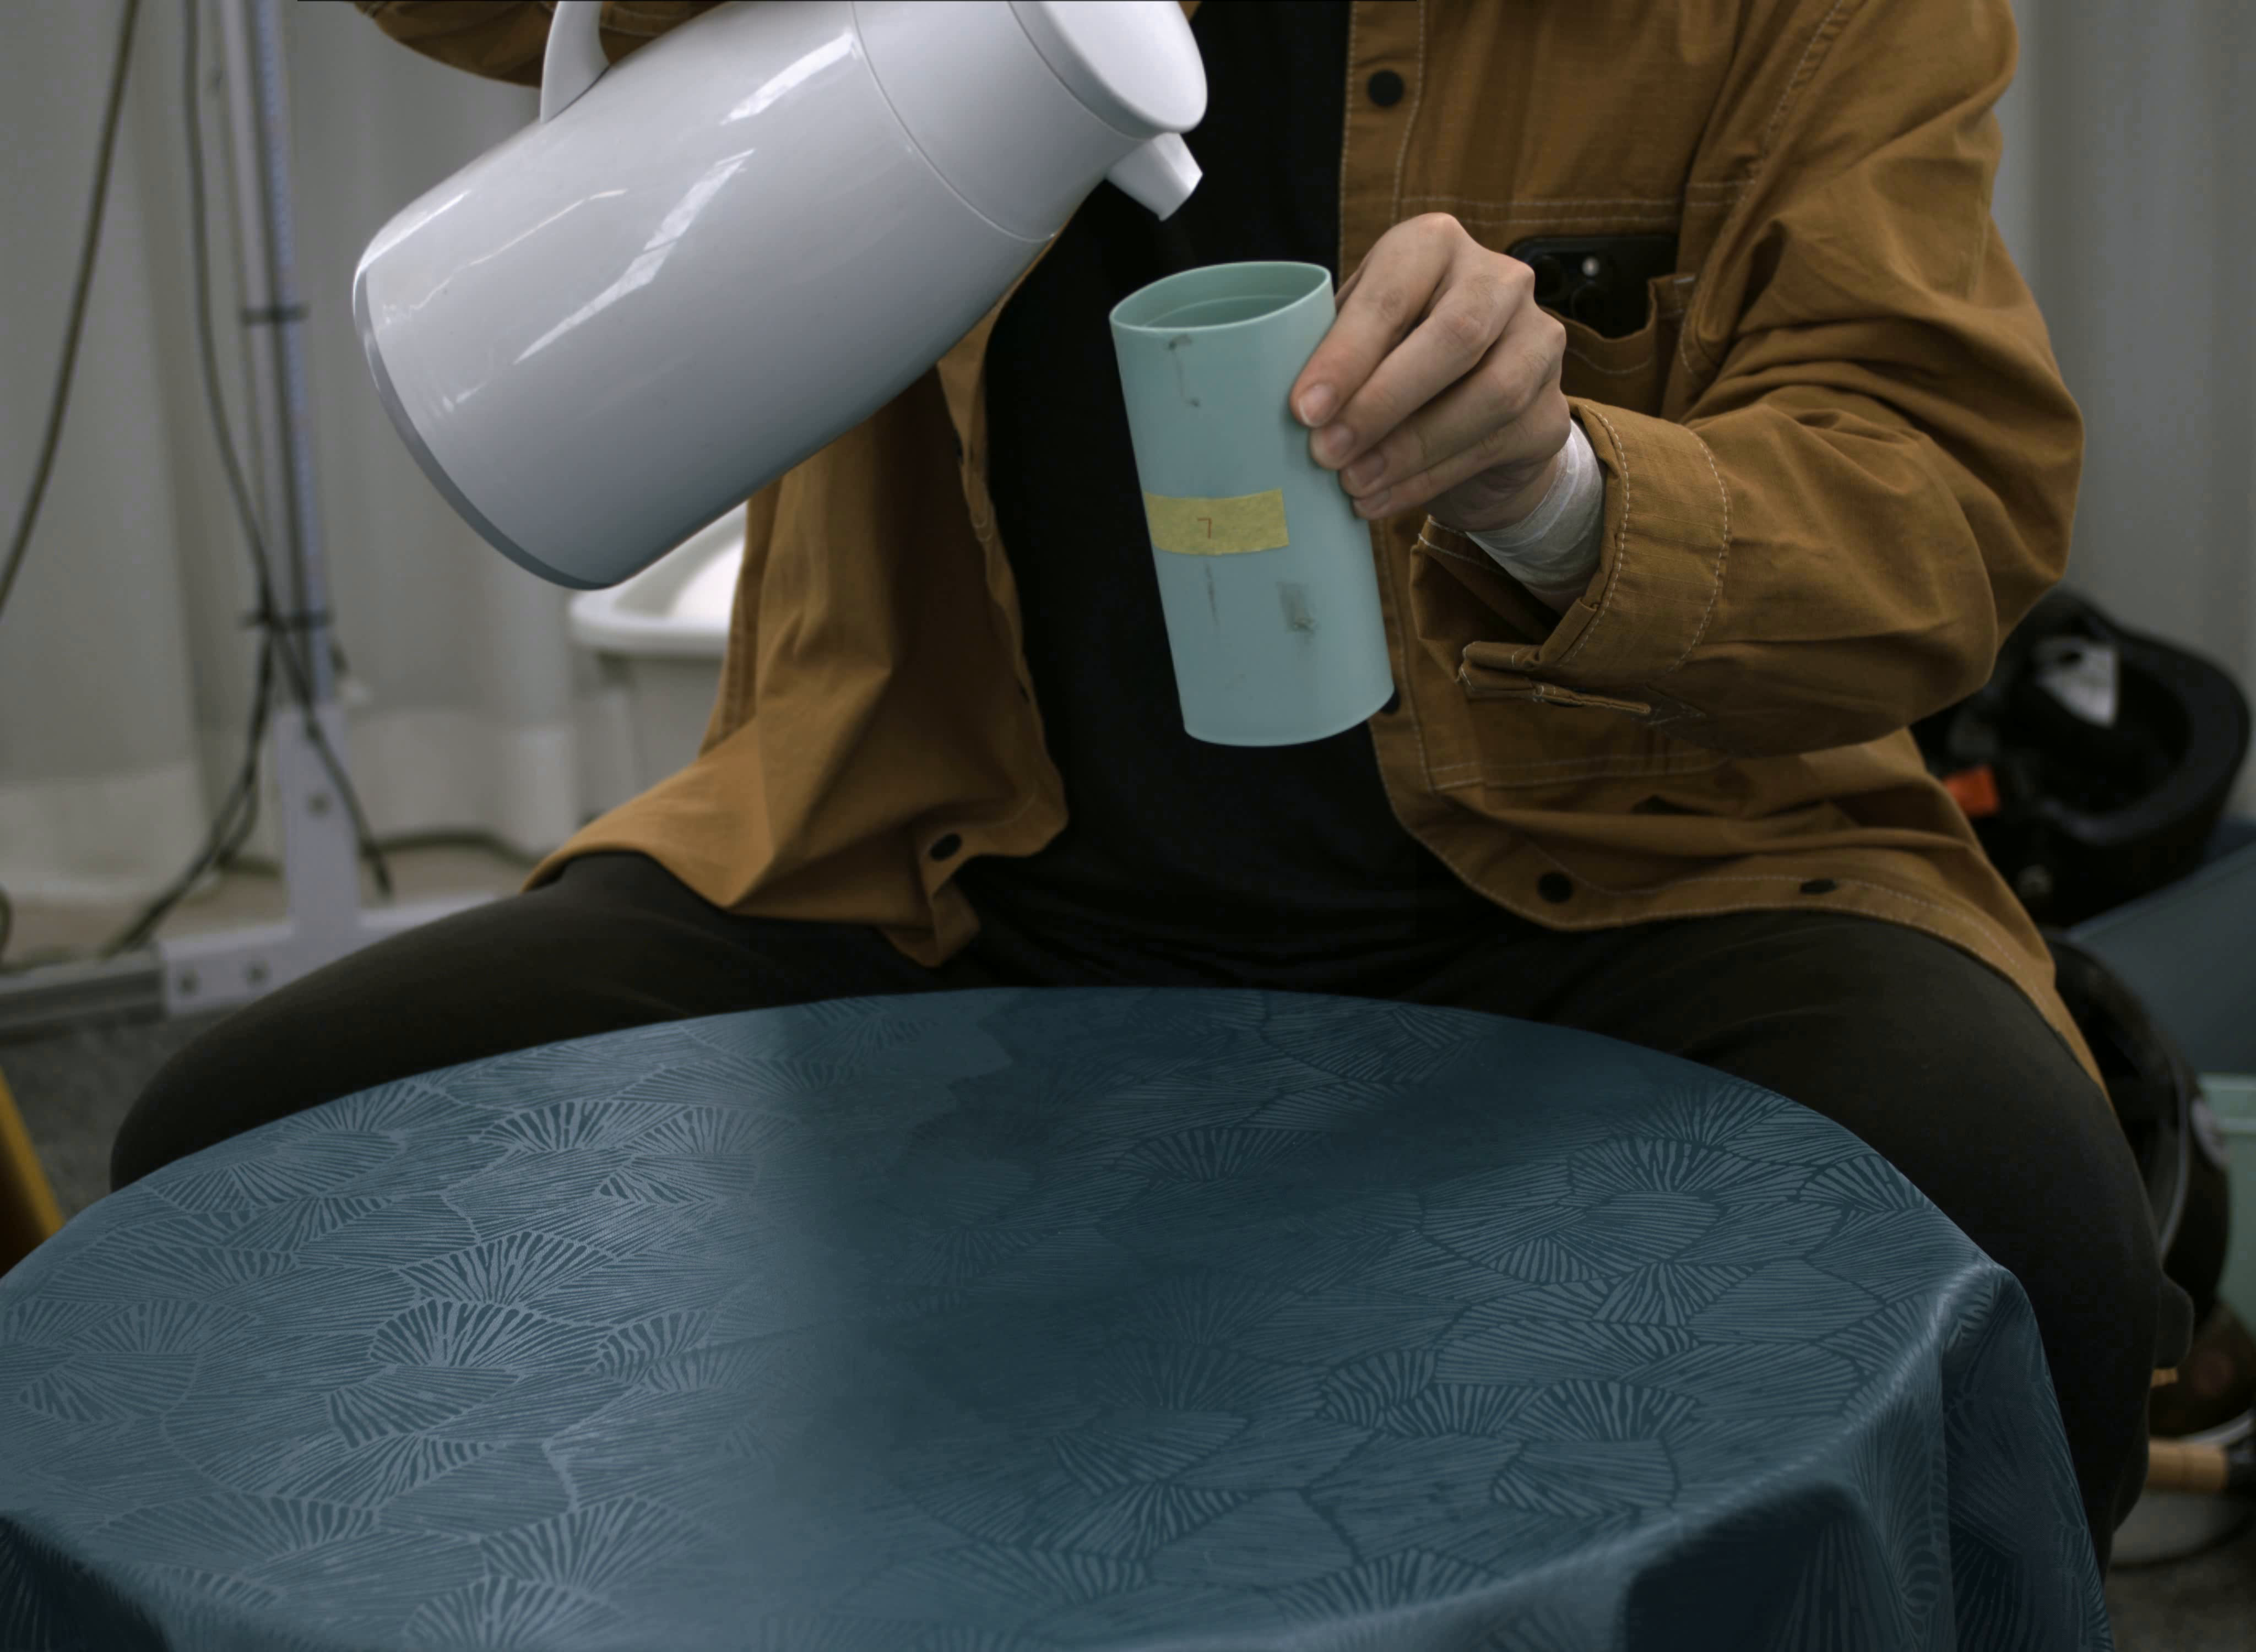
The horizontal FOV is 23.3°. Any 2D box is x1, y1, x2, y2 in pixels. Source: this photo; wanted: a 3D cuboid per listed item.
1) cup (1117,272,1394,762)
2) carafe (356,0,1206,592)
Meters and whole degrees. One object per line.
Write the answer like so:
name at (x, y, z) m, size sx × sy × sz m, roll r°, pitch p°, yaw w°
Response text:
cup at (0.040, -0.092, 1.618) m, size 0.066 × 0.131 × 0.067 m, roll -8°, pitch 20°, yaw 3°
carafe at (-0.108, -0.200, 1.625) m, size 0.247 × 0.167 × 0.134 m, roll -32°, pitch 16°, yaw 25°
